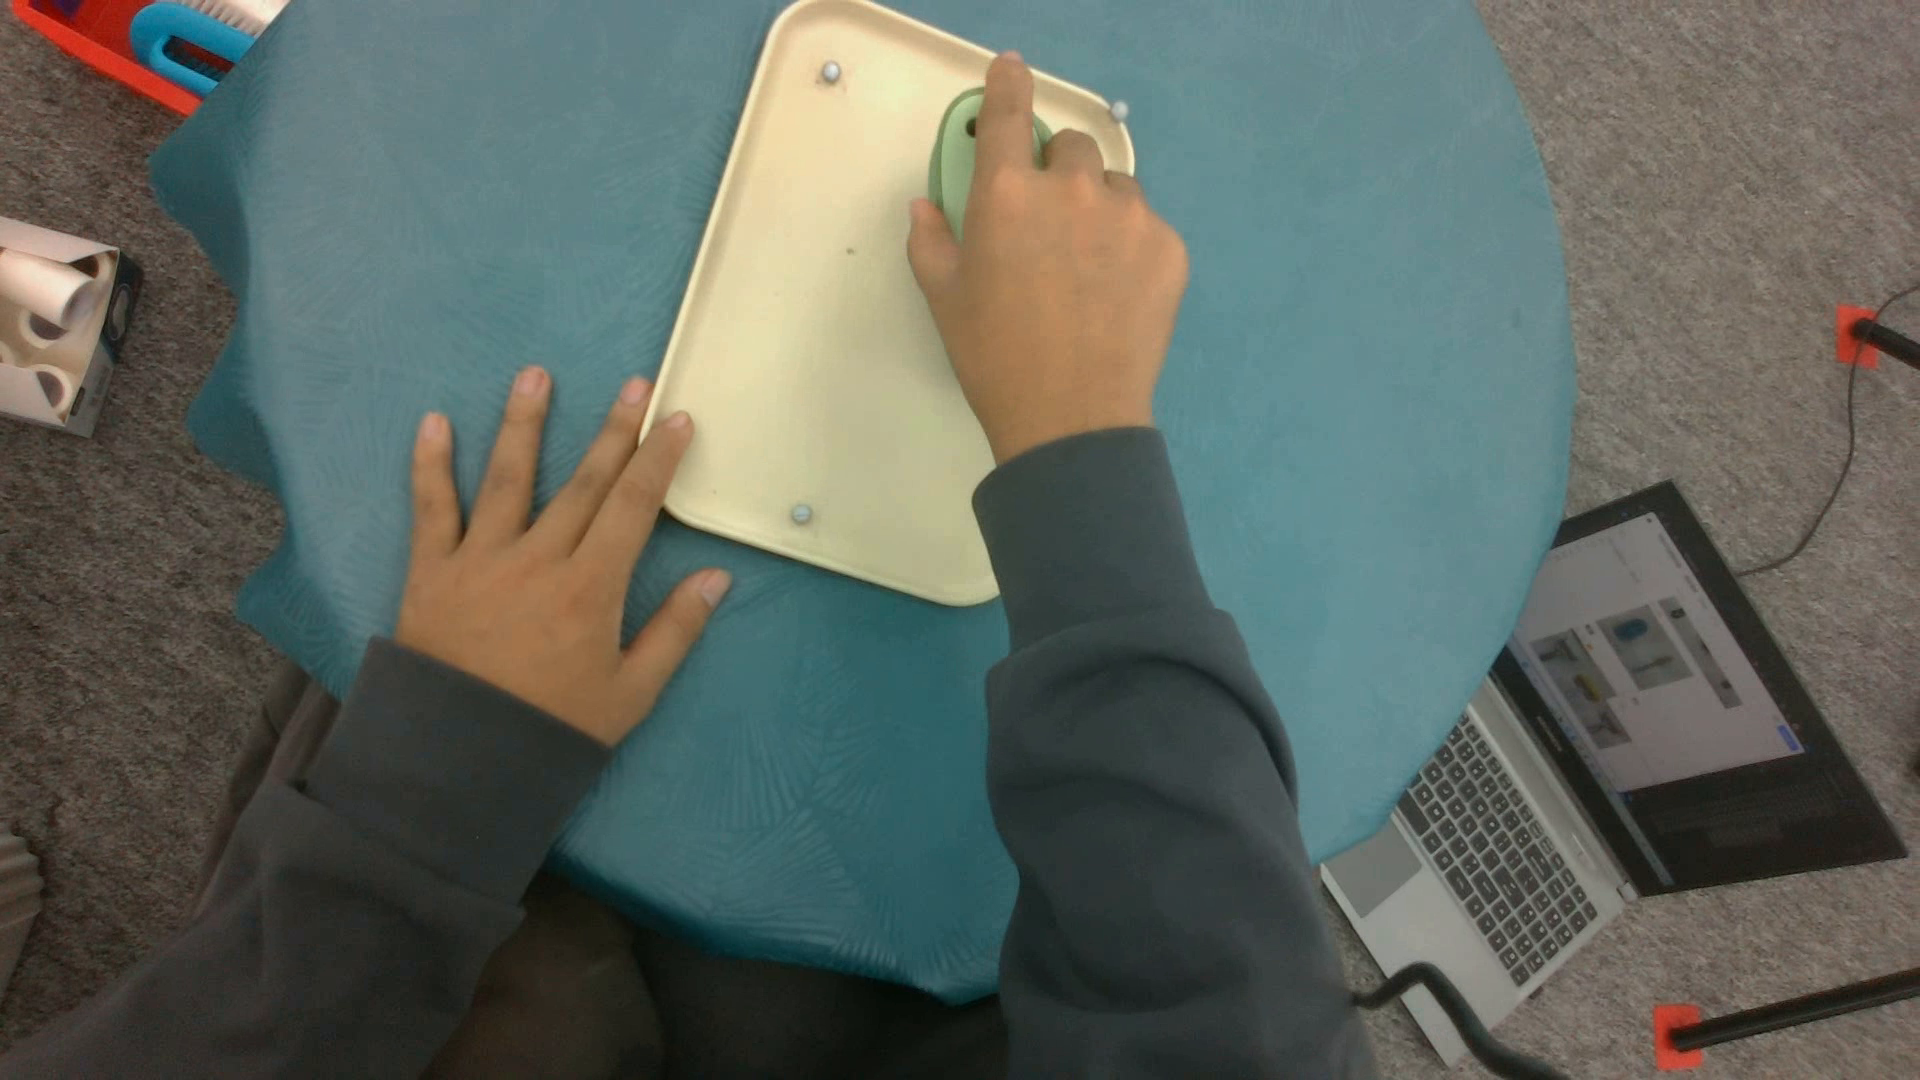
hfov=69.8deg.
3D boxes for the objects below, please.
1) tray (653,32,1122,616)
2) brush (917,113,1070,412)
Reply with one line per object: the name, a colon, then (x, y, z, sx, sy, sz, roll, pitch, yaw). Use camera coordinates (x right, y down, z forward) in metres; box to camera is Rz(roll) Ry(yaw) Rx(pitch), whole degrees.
tray: (-0.028, -0.095, 0.607, 0.171, 0.017, 0.240, 16, 79, -11)
brush: (0.014, -0.116, 0.580, 0.059, 0.076, 0.122, -8, 106, 2)
